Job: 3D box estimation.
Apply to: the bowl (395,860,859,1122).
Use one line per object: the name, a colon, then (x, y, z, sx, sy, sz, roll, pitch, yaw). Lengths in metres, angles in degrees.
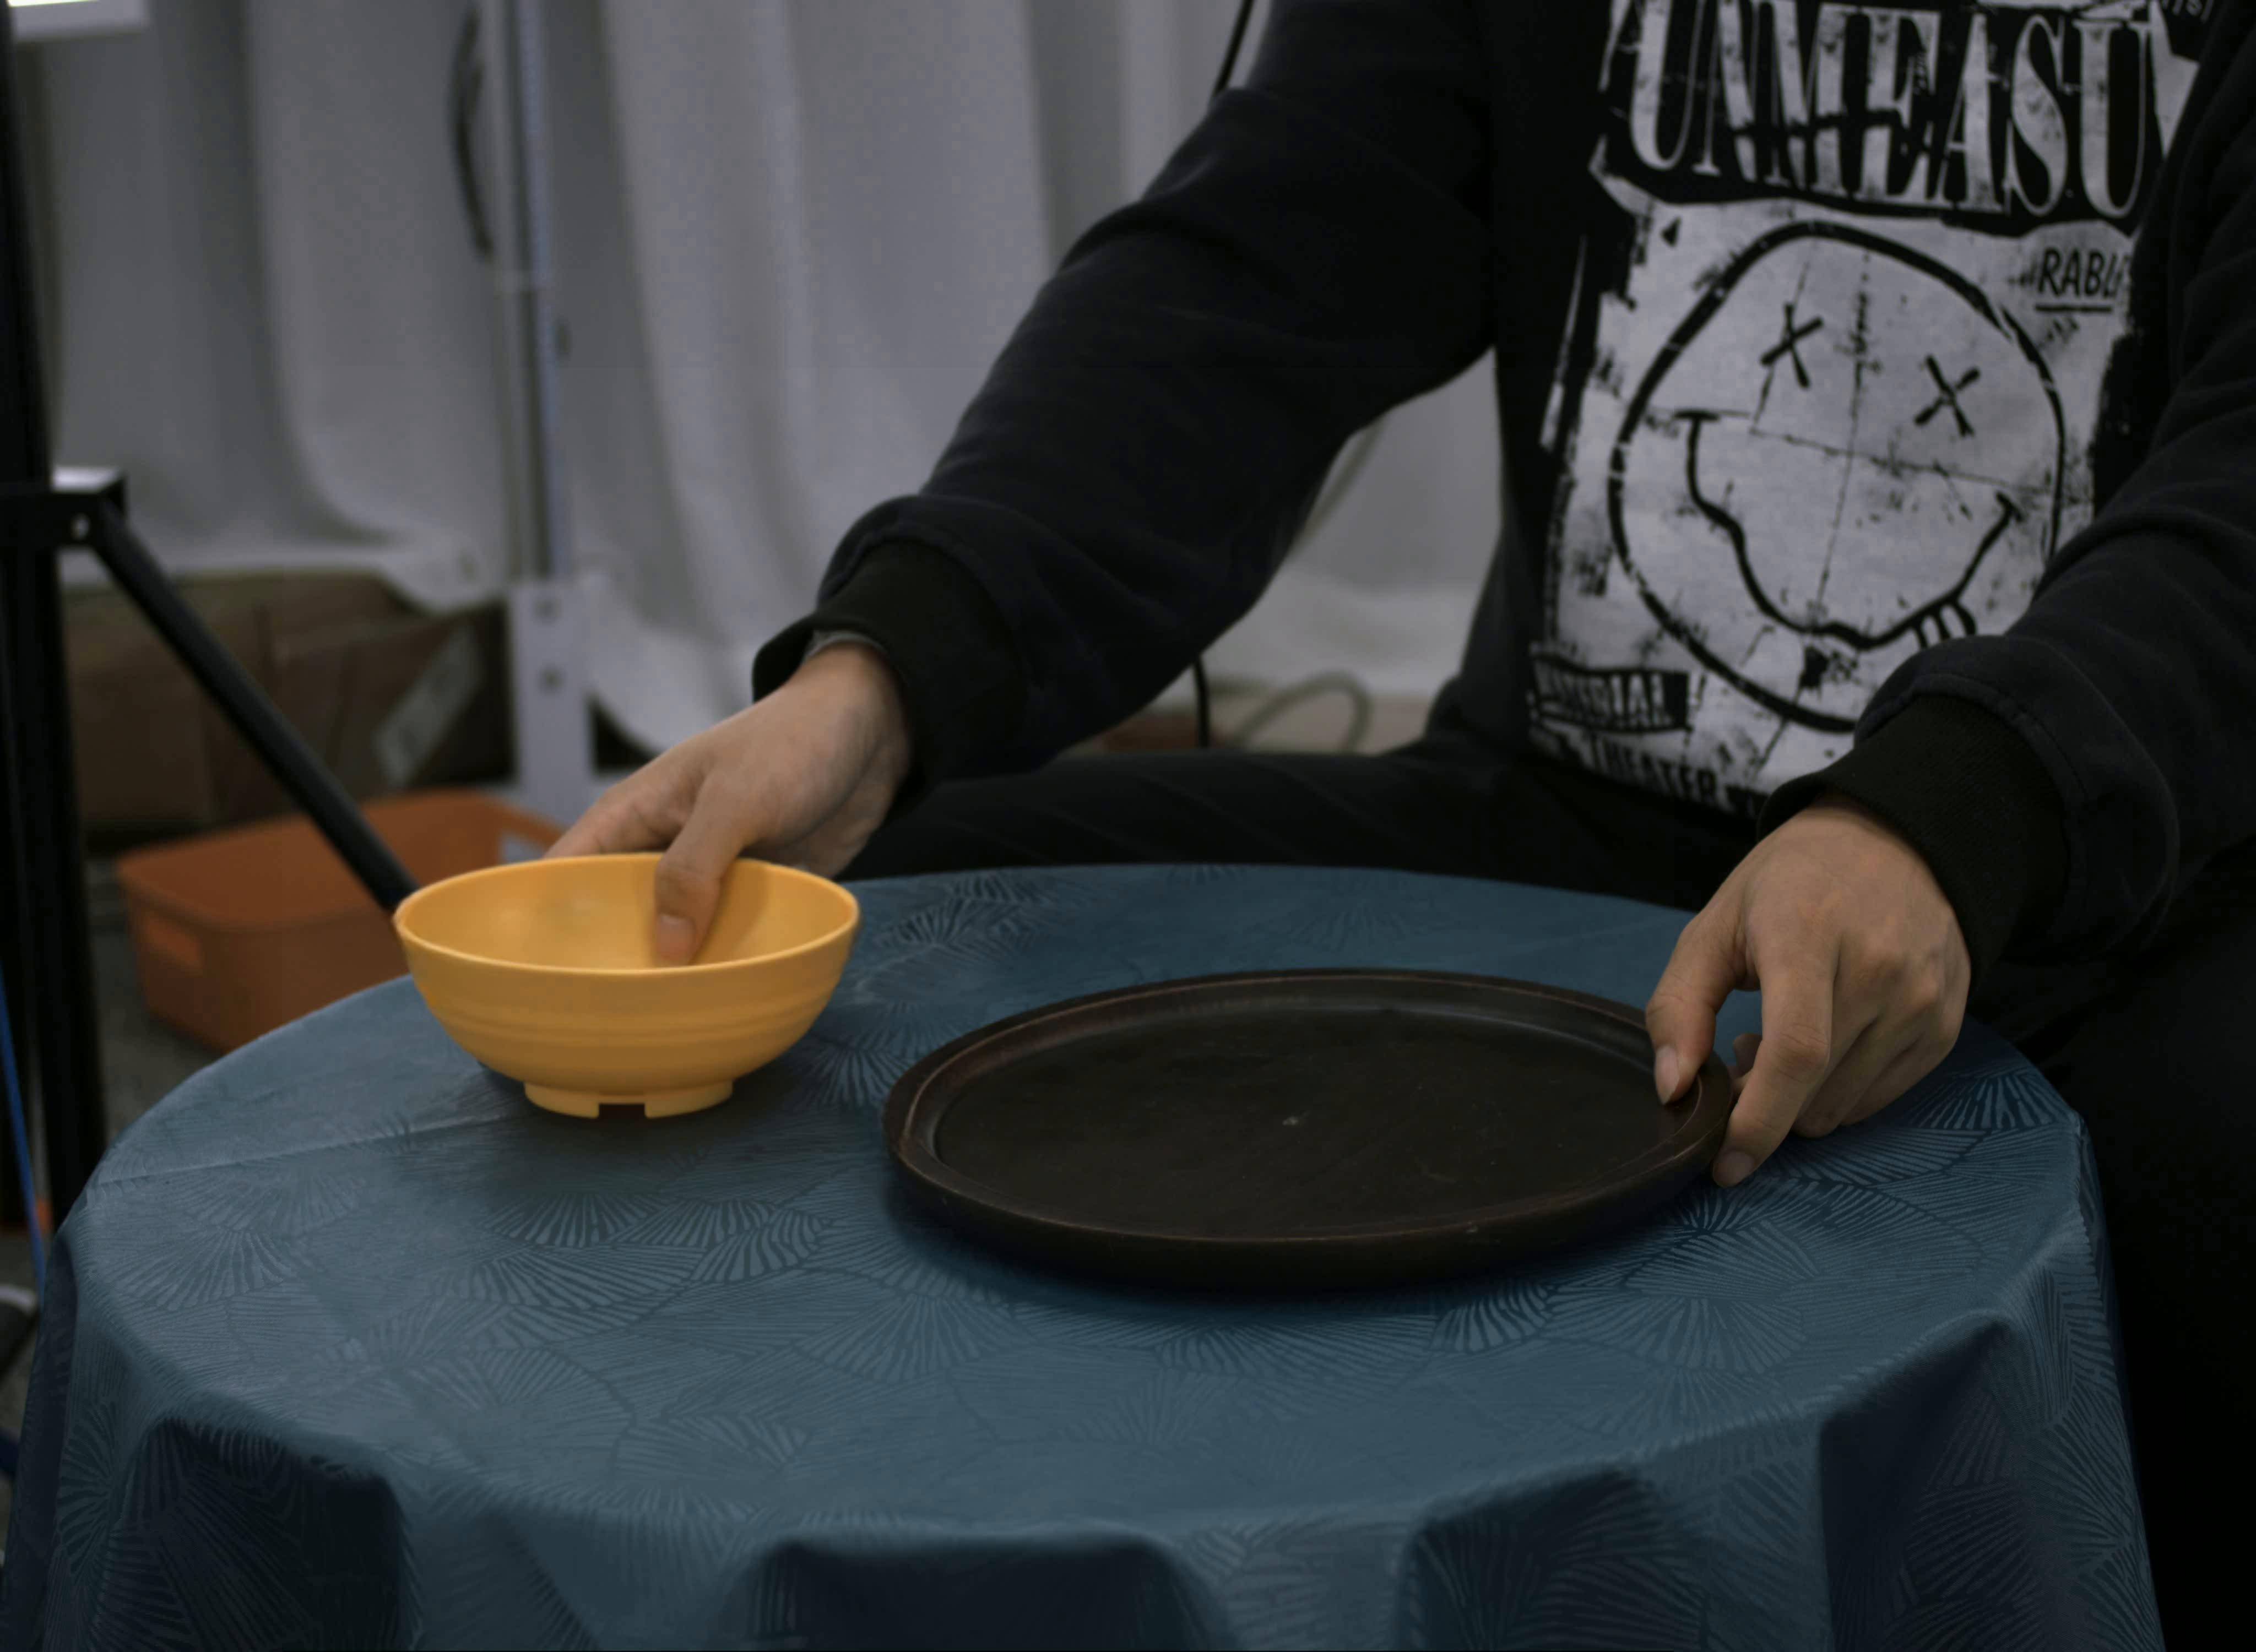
bowl: (-0.156, 0.056, 1.662, 0.144, 0.060, 0.146, 2, 12, -2)

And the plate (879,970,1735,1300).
plate: (0.053, 0.089, 1.571, 0.253, 0.029, 0.256, -4, 14, 0)
